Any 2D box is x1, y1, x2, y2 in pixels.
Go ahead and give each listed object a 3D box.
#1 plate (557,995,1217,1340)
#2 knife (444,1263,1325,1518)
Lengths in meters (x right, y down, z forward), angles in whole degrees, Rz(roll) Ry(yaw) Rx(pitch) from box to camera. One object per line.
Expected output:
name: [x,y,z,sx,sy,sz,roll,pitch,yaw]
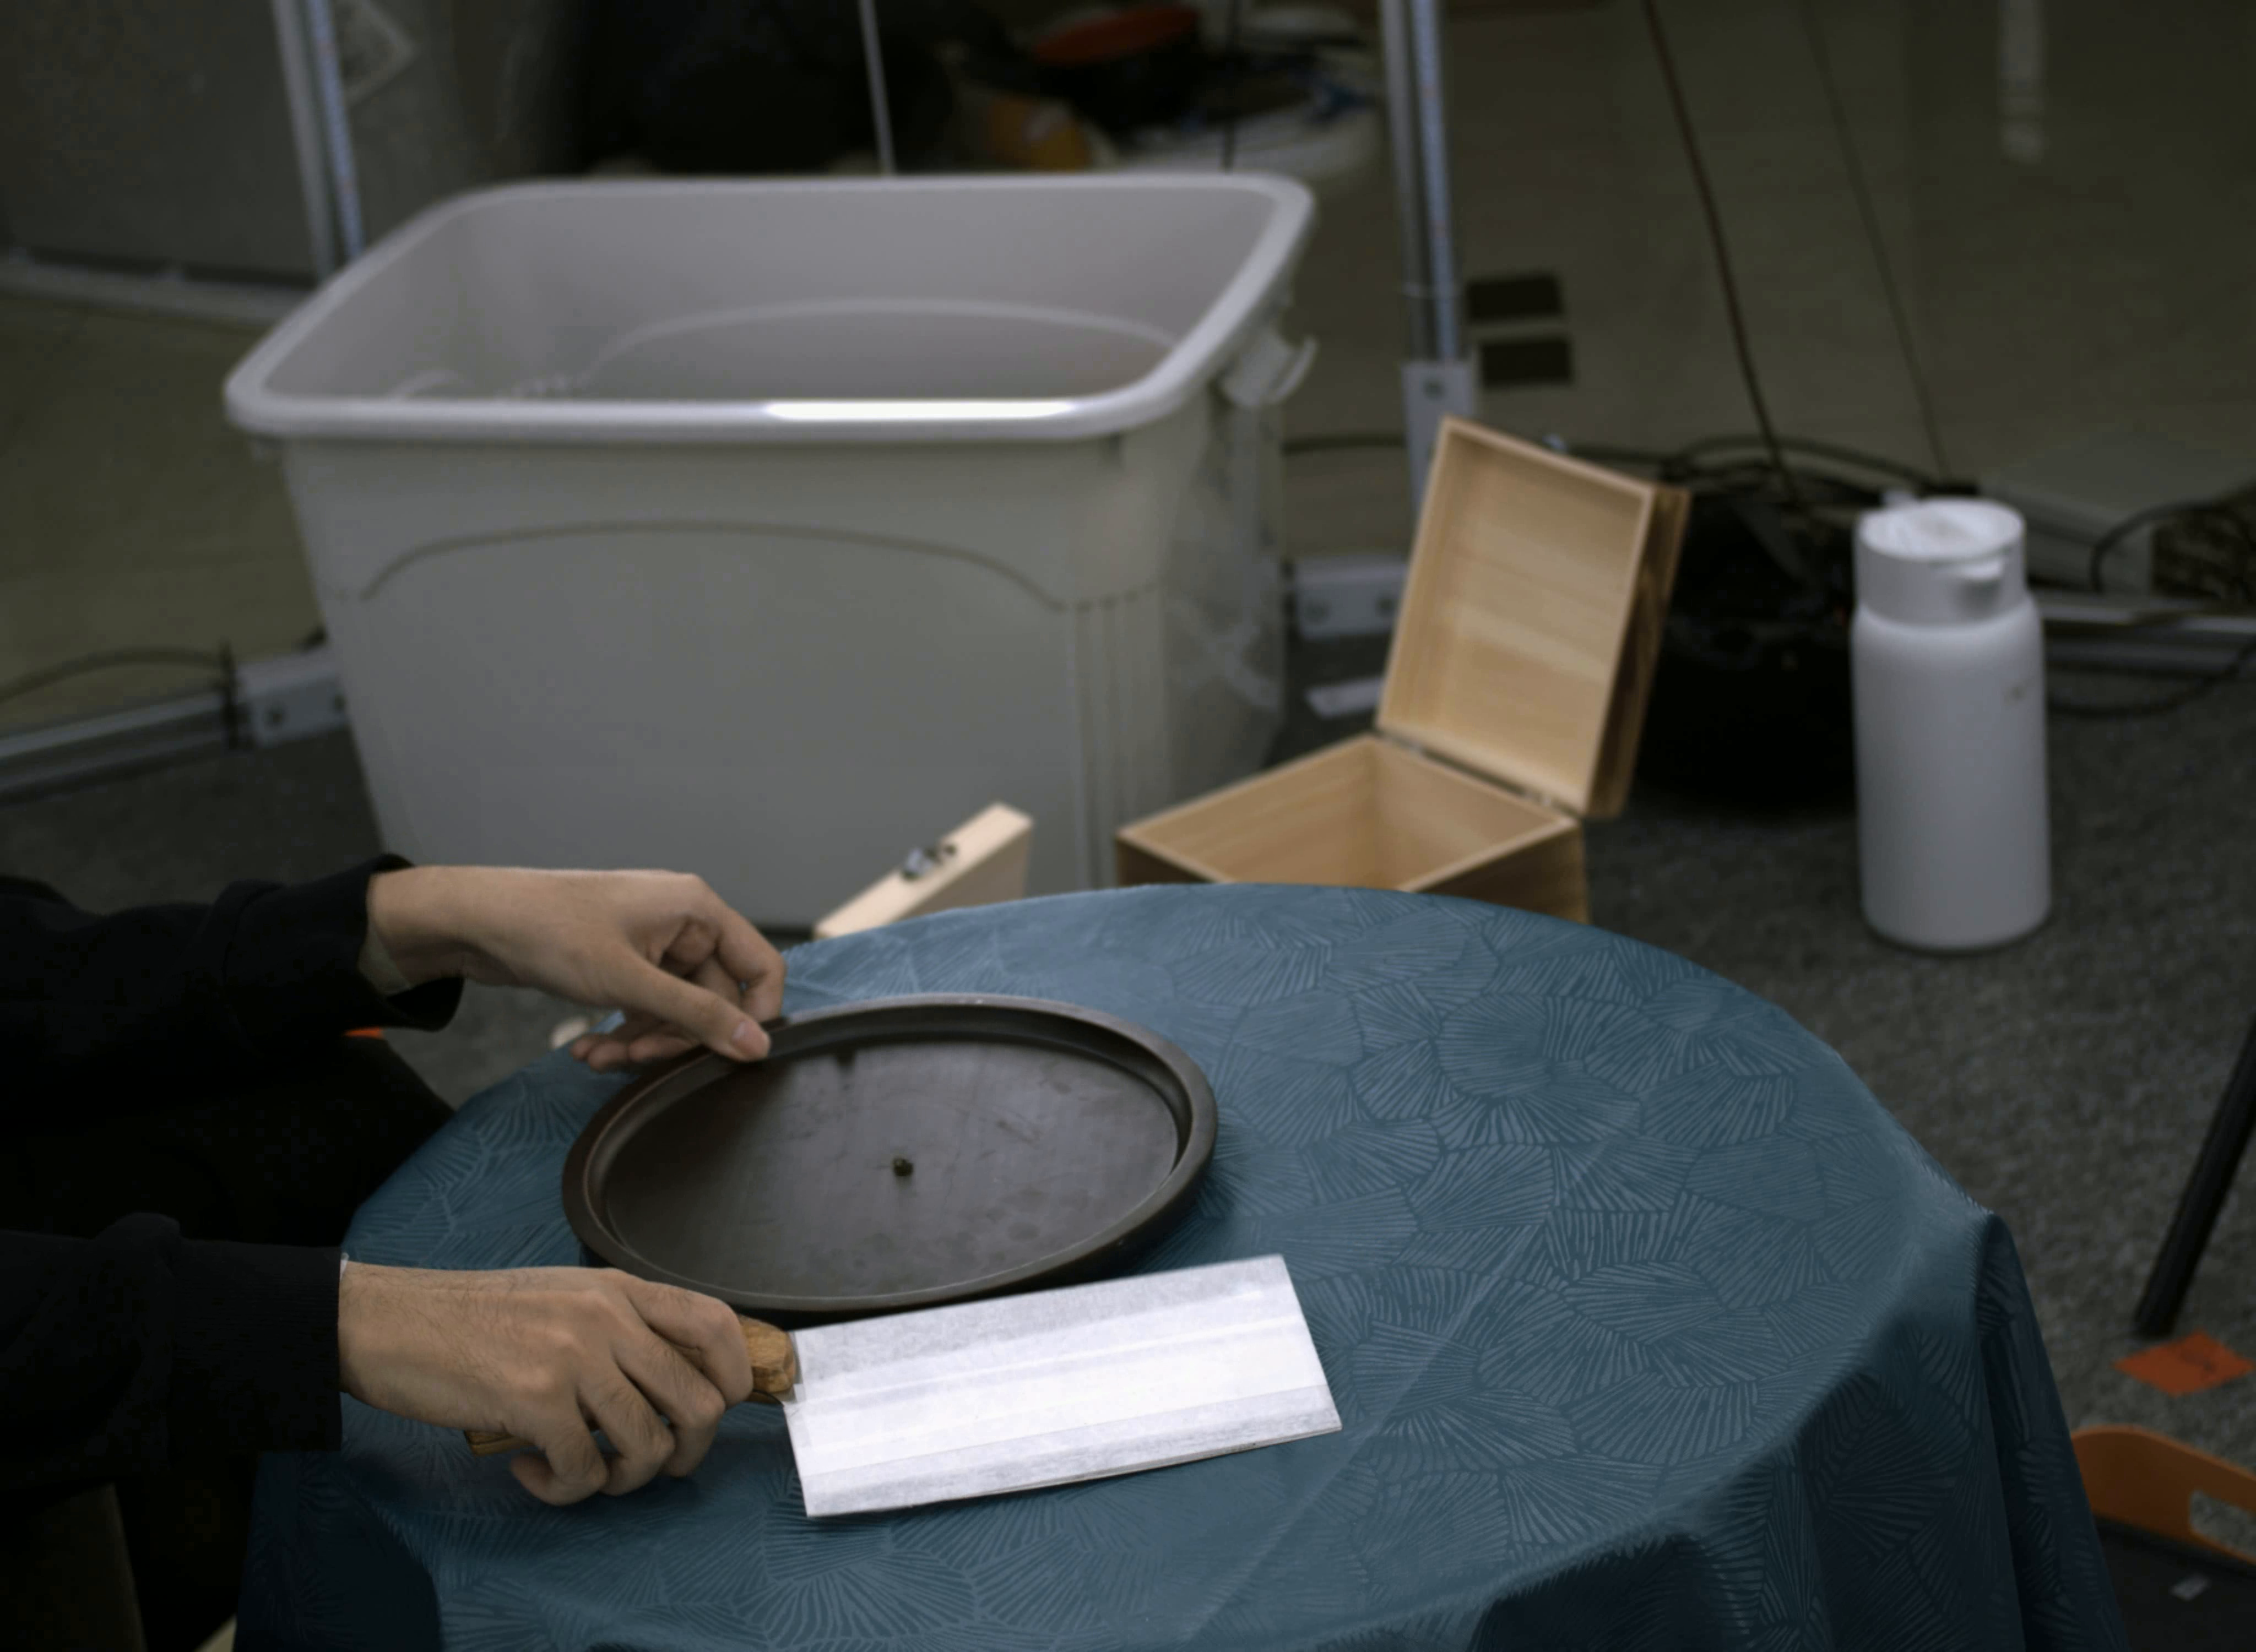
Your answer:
plate: [-0.091,0.129,2.161,0.254,0.029,0.251,-5,23,2]
knife: [-0.083,0.203,1.986,0.305,0.021,0.091,-8,39,-10]
